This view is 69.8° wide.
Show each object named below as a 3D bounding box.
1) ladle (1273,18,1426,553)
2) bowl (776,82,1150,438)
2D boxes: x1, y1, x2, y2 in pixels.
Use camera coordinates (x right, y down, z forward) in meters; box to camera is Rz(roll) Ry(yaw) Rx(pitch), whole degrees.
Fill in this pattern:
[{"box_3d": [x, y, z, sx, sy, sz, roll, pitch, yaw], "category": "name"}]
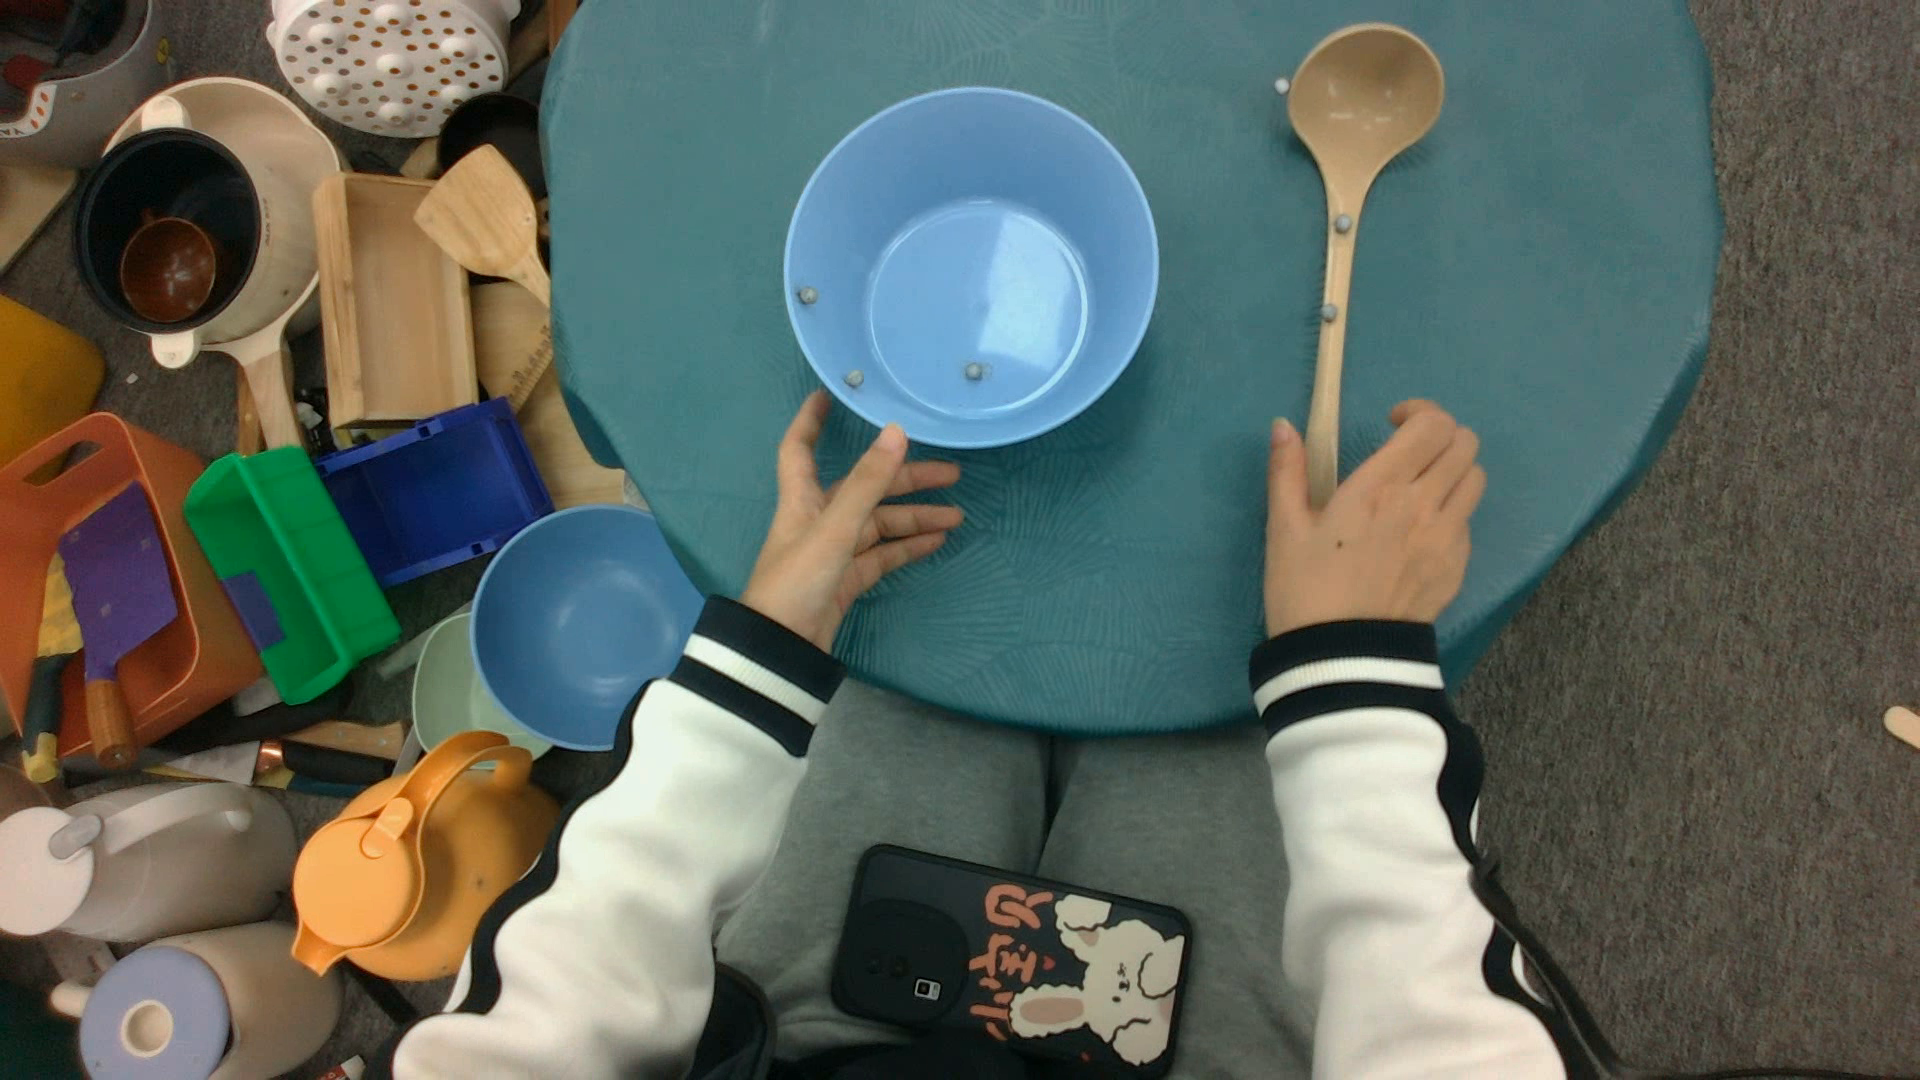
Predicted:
[{"box_3d": [0.181, -0.124, 0.659, 0.072, 0.073, 0.255, 5, 80, 5], "category": "ladle"}, {"box_3d": [0.003, -0.127, 0.673, 0.176, 0.070, 0.176, -1, 79, 5], "category": "bowl"}]
